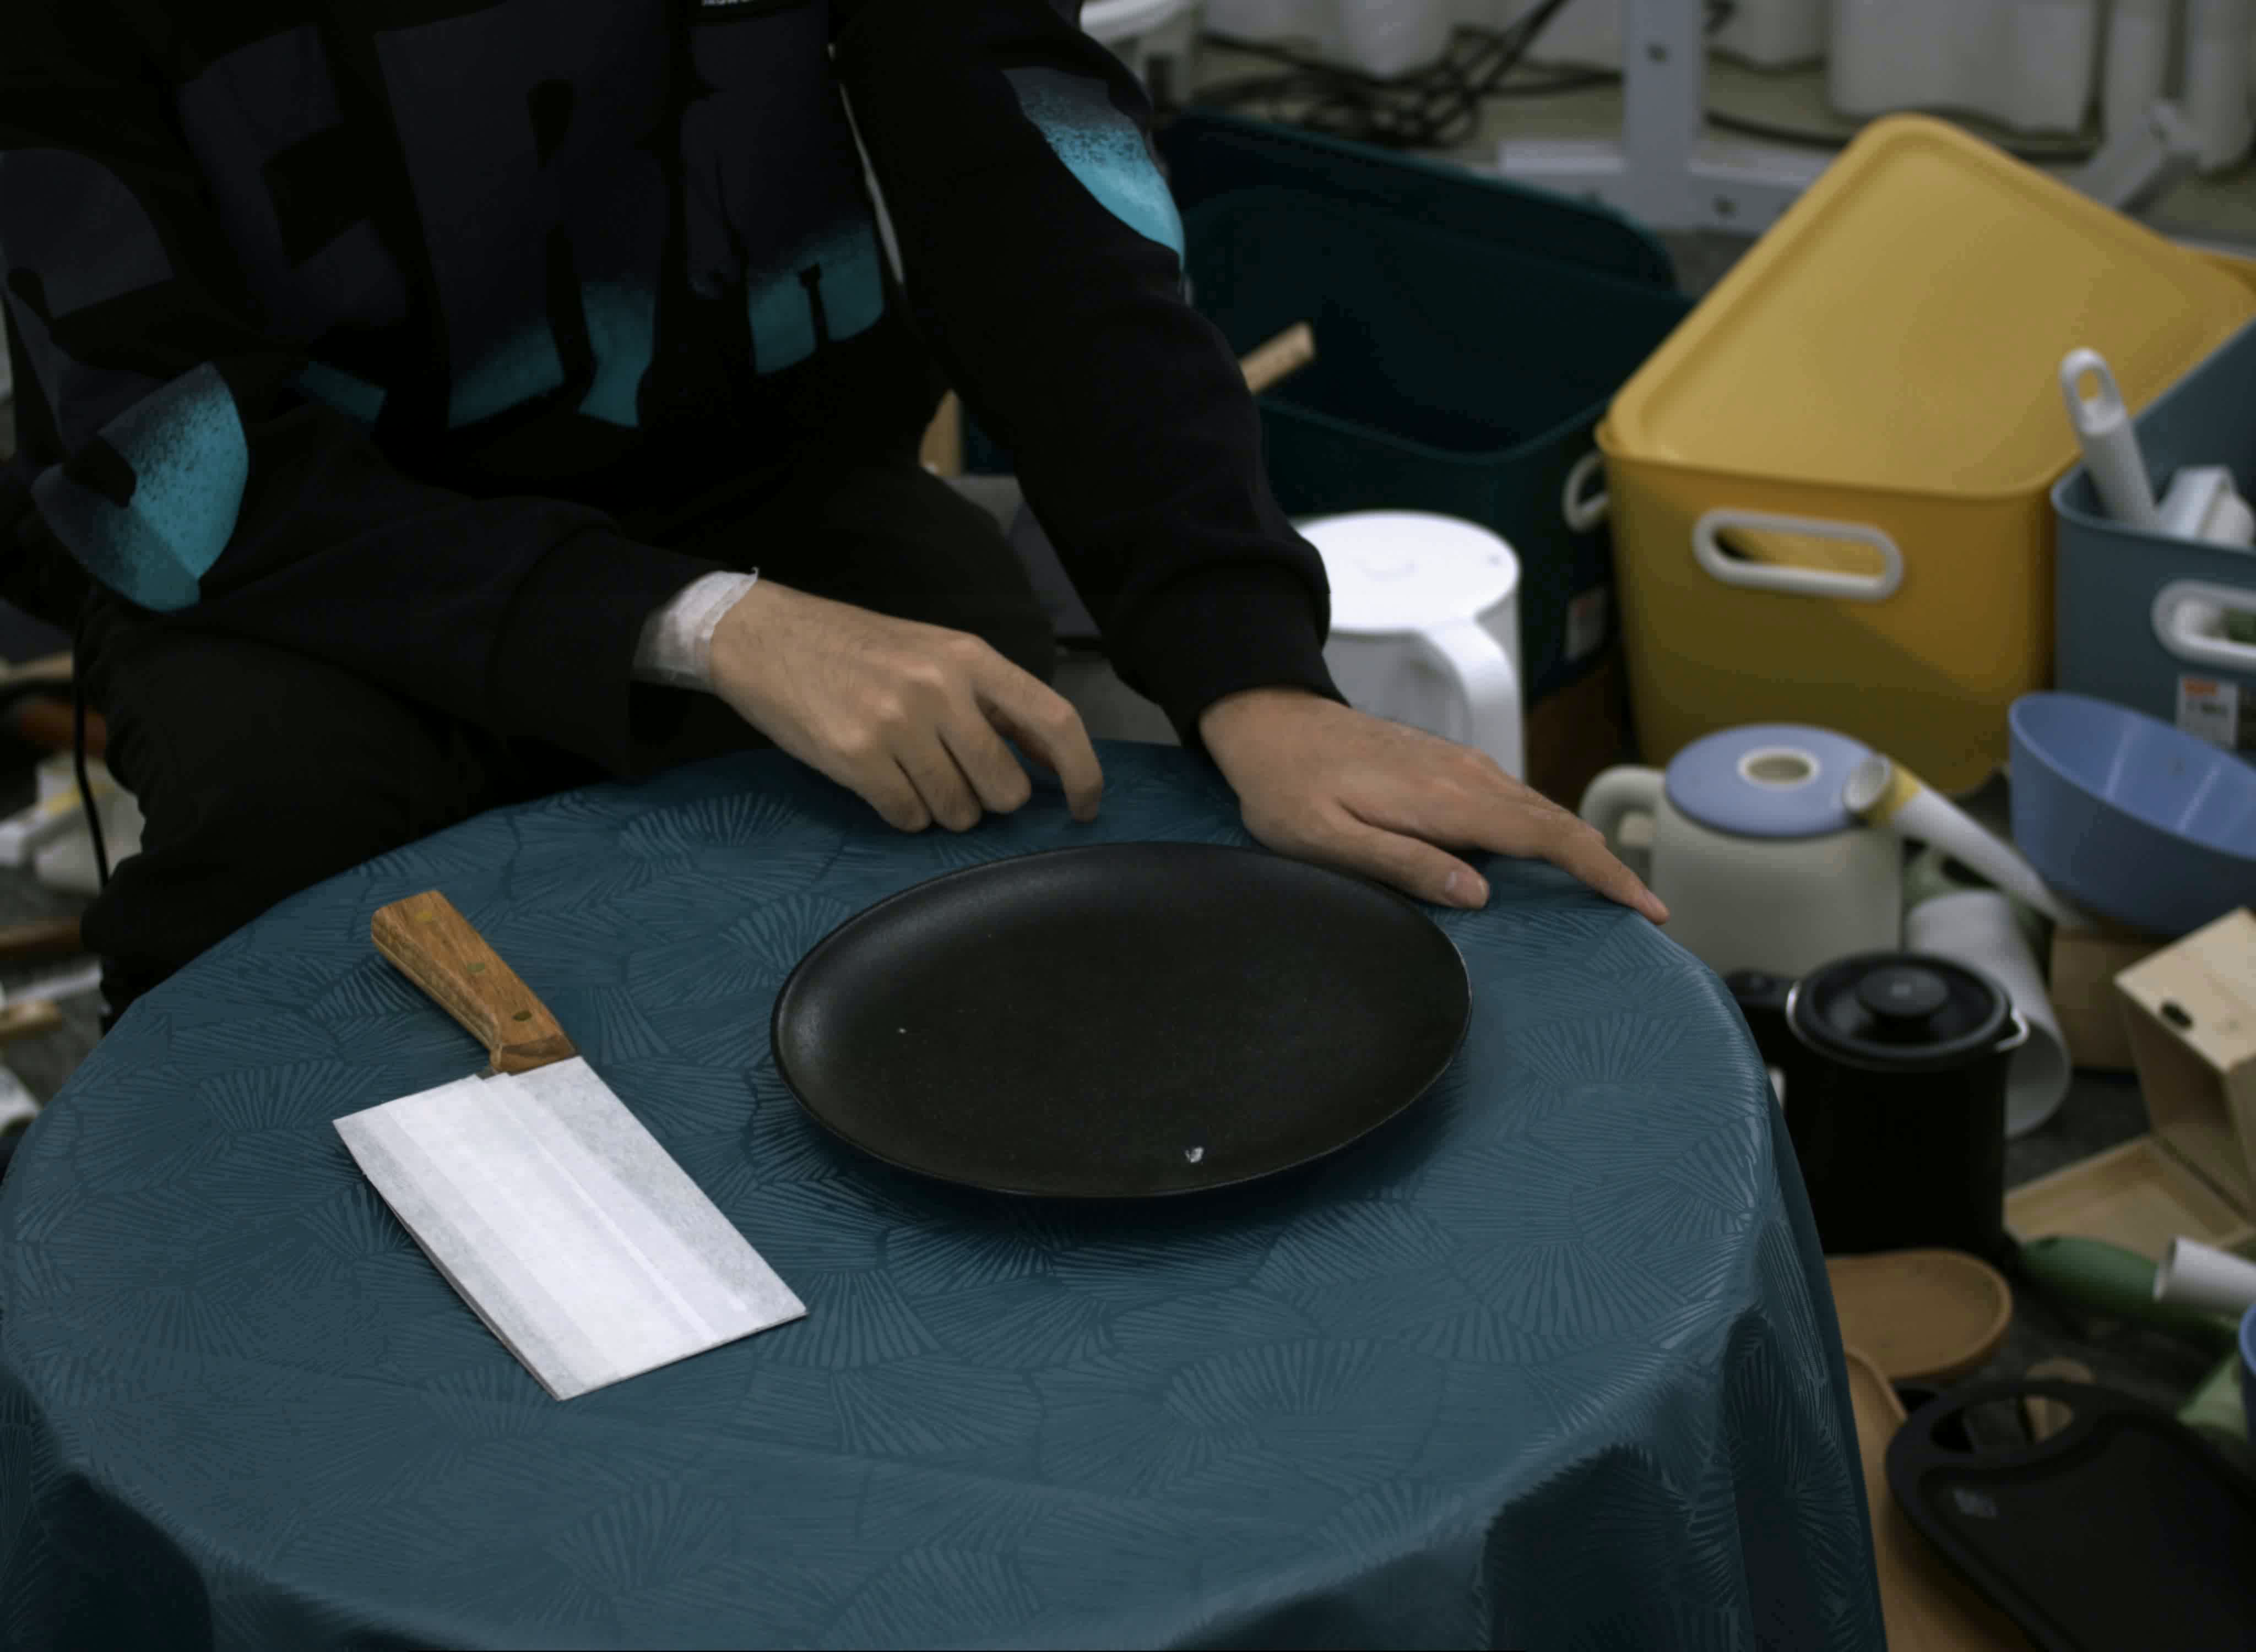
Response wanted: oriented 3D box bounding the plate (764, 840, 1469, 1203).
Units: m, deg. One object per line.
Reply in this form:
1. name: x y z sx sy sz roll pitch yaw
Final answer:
1. plate: -0.004 0.072 1.933 0.243 0.023 0.248 -2 28 2

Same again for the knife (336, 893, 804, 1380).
1. knife: -0.213 0.105 1.900 0.093 0.021 0.307 -18 33 -23
